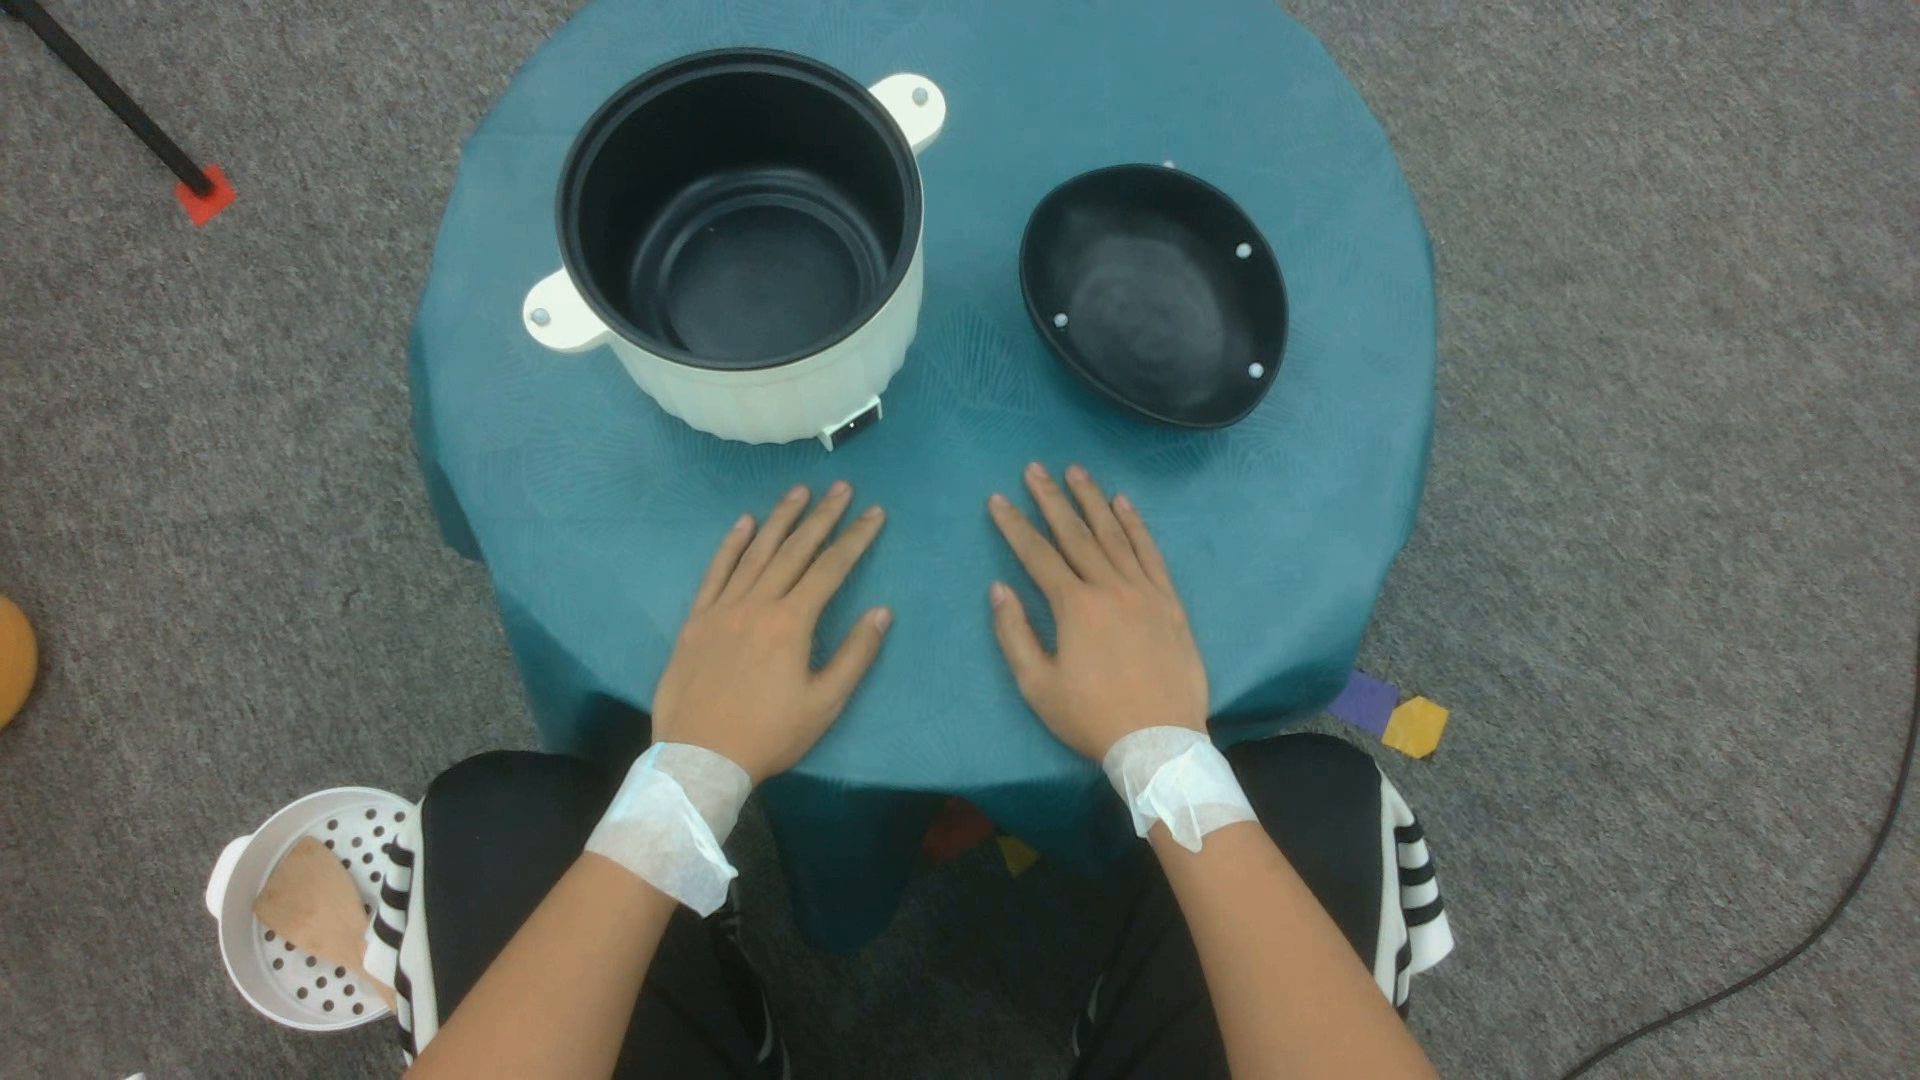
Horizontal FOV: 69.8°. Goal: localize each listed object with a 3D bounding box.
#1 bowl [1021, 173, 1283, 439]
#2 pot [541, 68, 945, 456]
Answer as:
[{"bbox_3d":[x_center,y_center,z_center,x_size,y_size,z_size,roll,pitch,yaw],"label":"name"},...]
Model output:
[{"bbox_3d":[0.109,-0.129,0.796,0.137,0.066,0.170,-35,76,-10],"label":"bowl"},{"bbox_3d":[-0.113,-0.147,0.762,0.241,0.142,0.190,-35,78,-12],"label":"pot"}]
